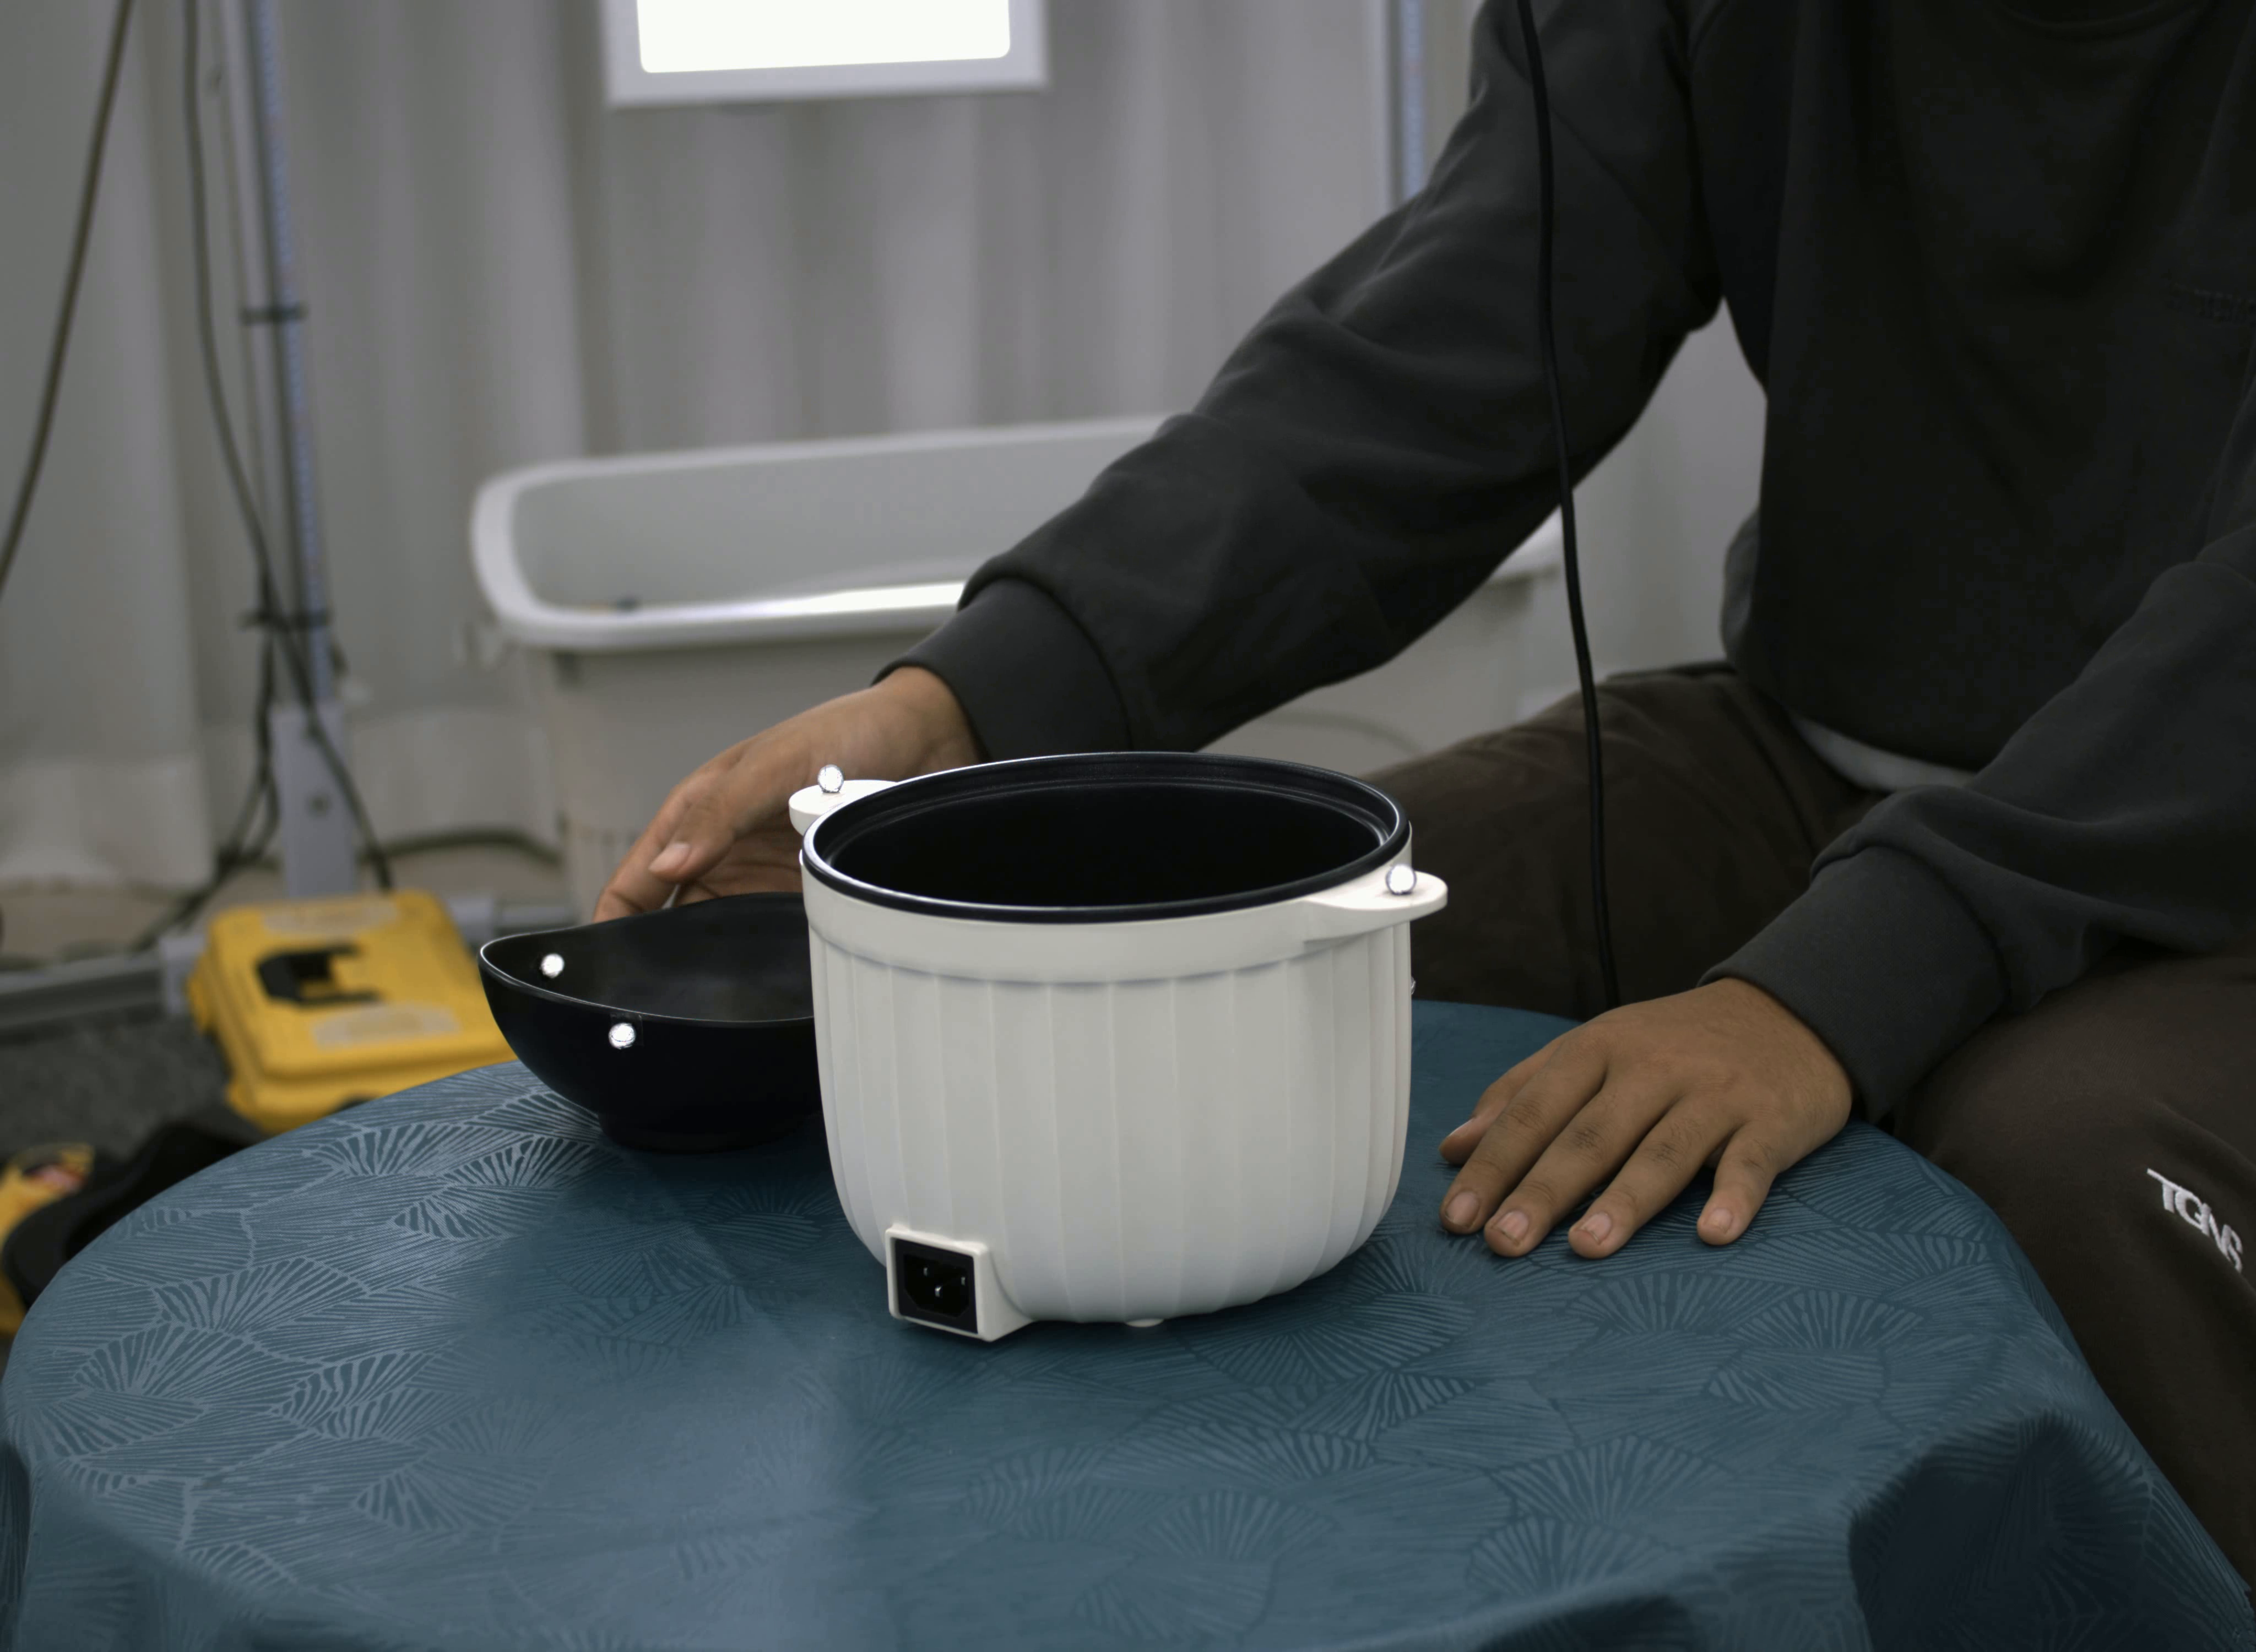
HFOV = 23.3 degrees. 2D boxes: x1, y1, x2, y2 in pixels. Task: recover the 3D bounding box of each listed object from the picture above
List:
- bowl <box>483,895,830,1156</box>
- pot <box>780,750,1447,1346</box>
[{"bbox_3d":[-0.140,0.068,1.793,0.137,0.066,0.171,-11,15,-30],"label":"bowl"},{"bbox_3d":[-0.003,0.063,1.644,0.241,0.142,0.190,10,22,37],"label":"pot"}]
